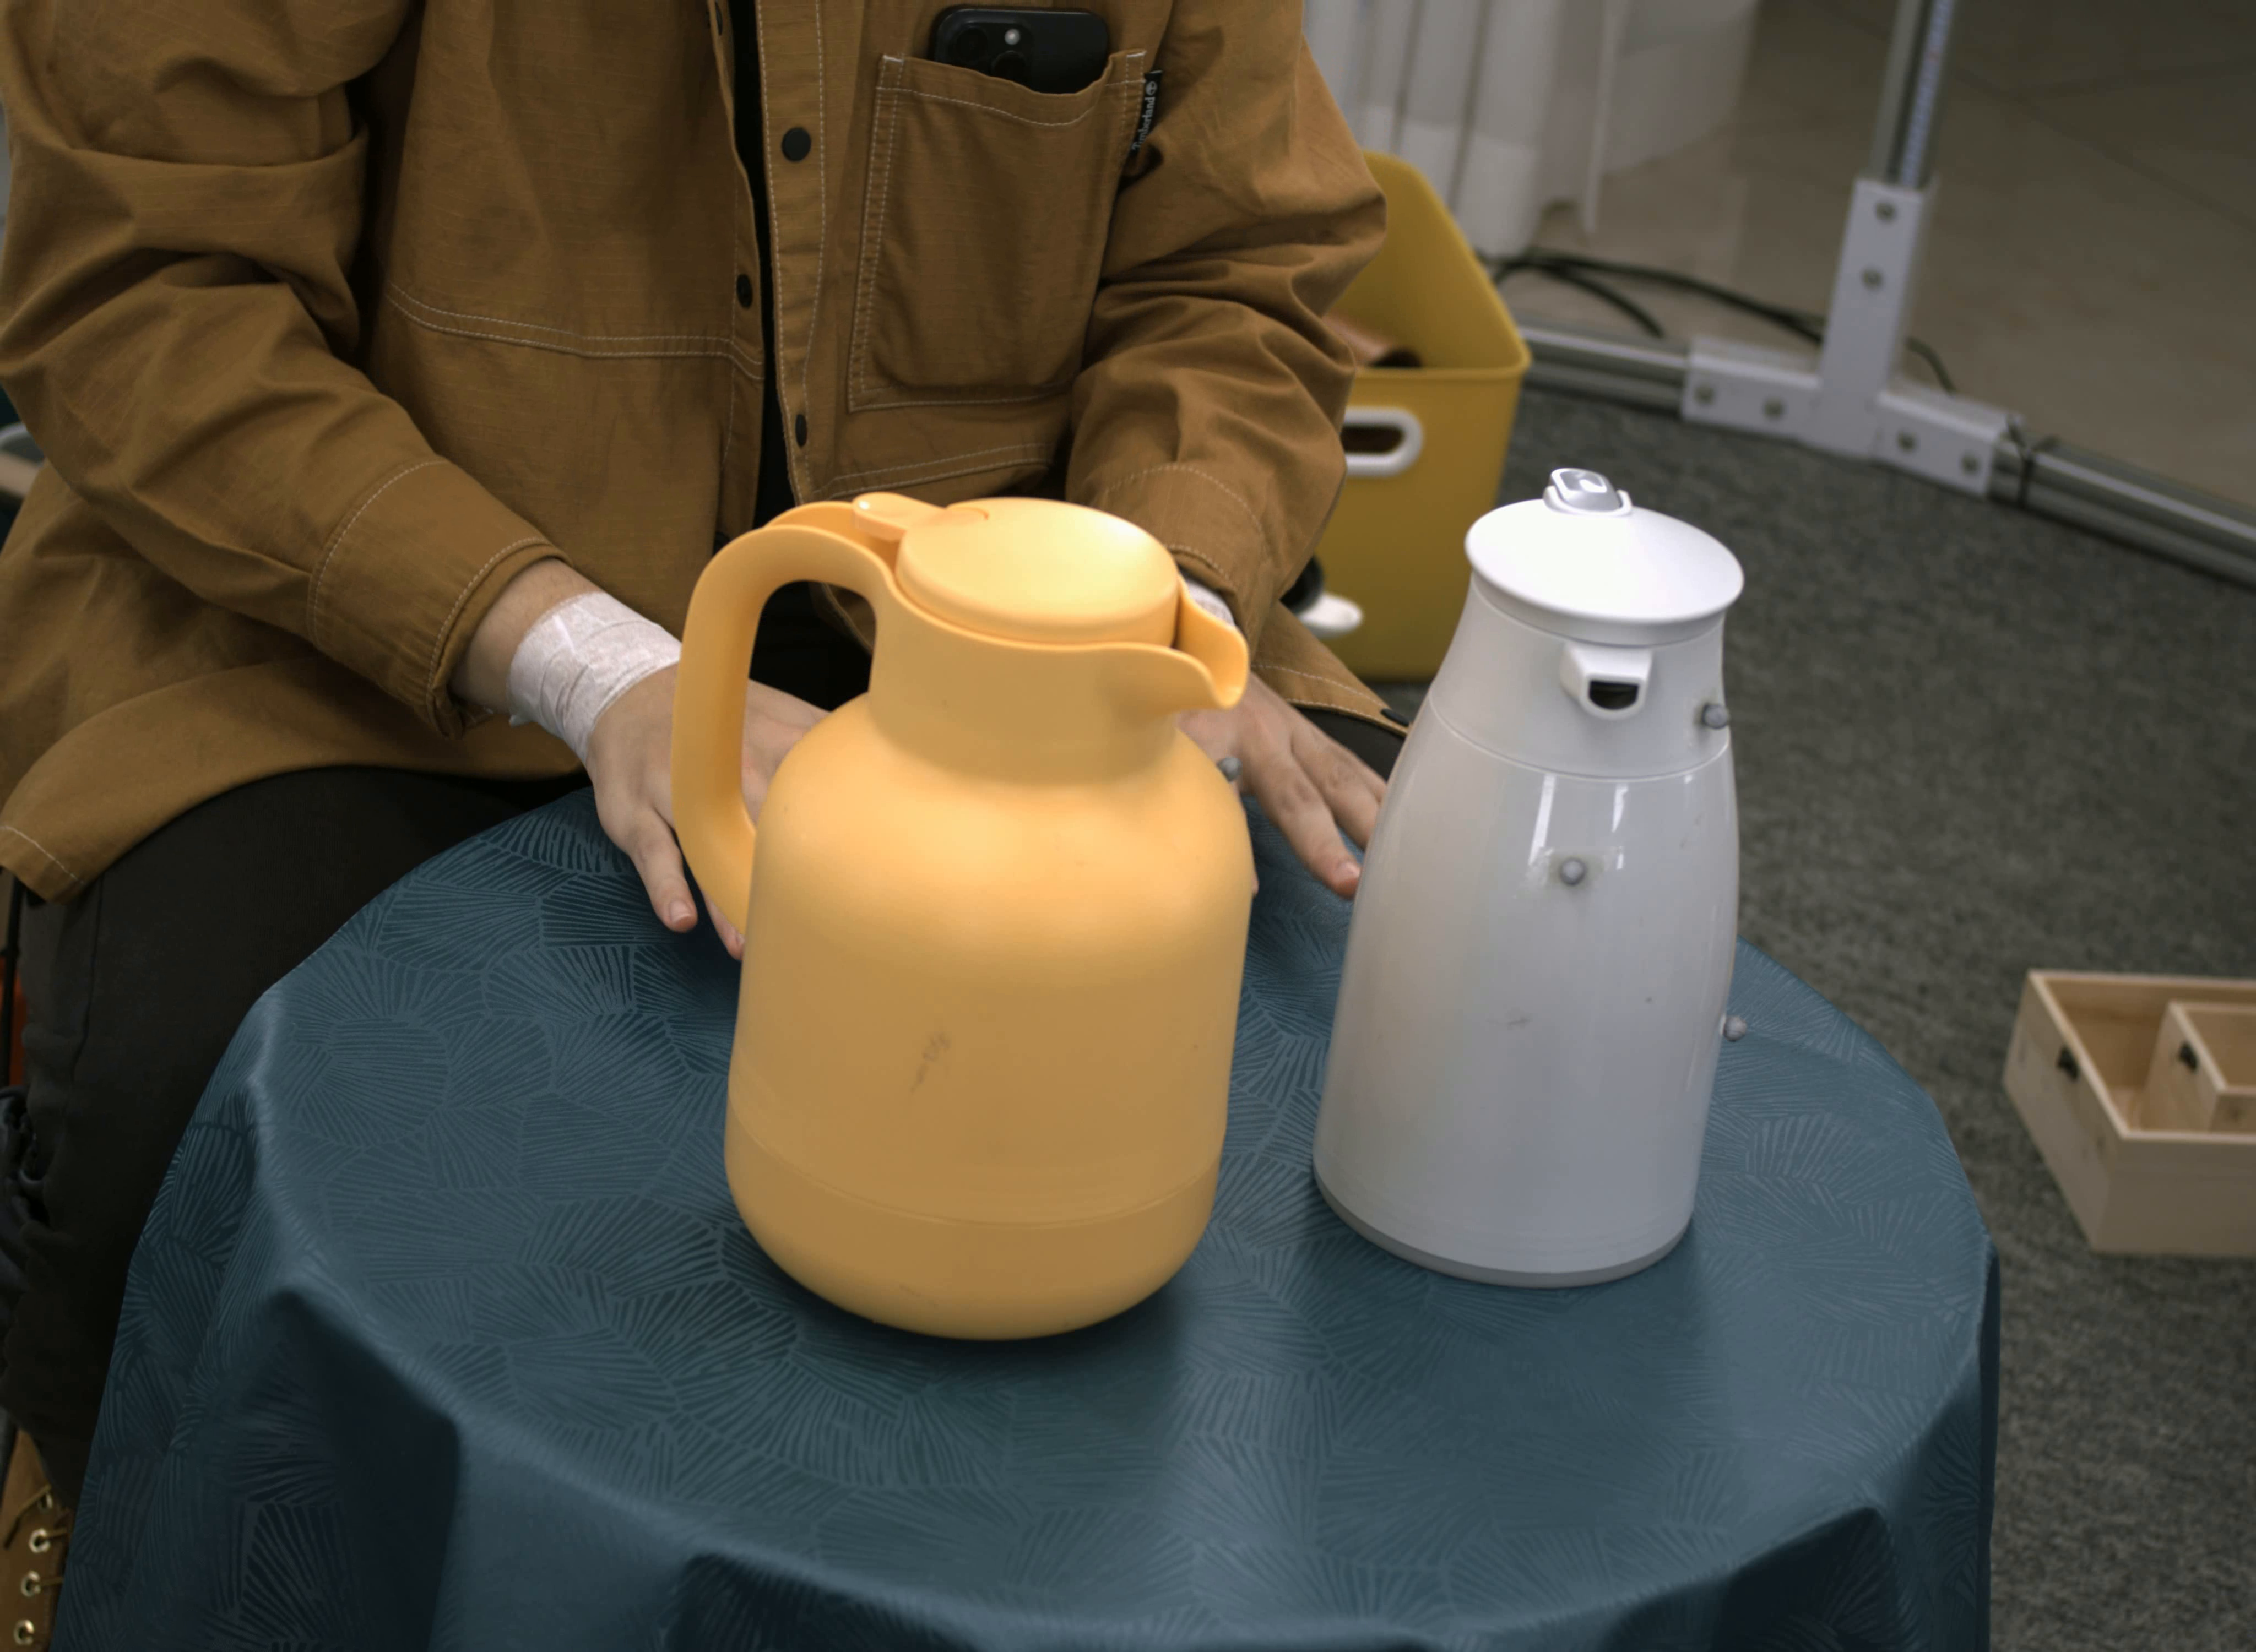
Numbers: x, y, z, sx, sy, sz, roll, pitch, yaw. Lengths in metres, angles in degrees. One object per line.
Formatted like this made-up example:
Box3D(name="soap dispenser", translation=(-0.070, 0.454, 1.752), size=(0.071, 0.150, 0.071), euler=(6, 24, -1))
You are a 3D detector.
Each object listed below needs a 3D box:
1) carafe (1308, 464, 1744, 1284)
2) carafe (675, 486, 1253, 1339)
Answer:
Box3D(name="carafe", translation=(0.140, 0.005, 1.795), size=(0.132, 0.248, 0.169), euler=(5, 26, -4))
Box3D(name="carafe", translation=(-0.058, 0.017, 1.715), size=(0.203, 0.260, 0.163), euler=(22, 28, 25))
